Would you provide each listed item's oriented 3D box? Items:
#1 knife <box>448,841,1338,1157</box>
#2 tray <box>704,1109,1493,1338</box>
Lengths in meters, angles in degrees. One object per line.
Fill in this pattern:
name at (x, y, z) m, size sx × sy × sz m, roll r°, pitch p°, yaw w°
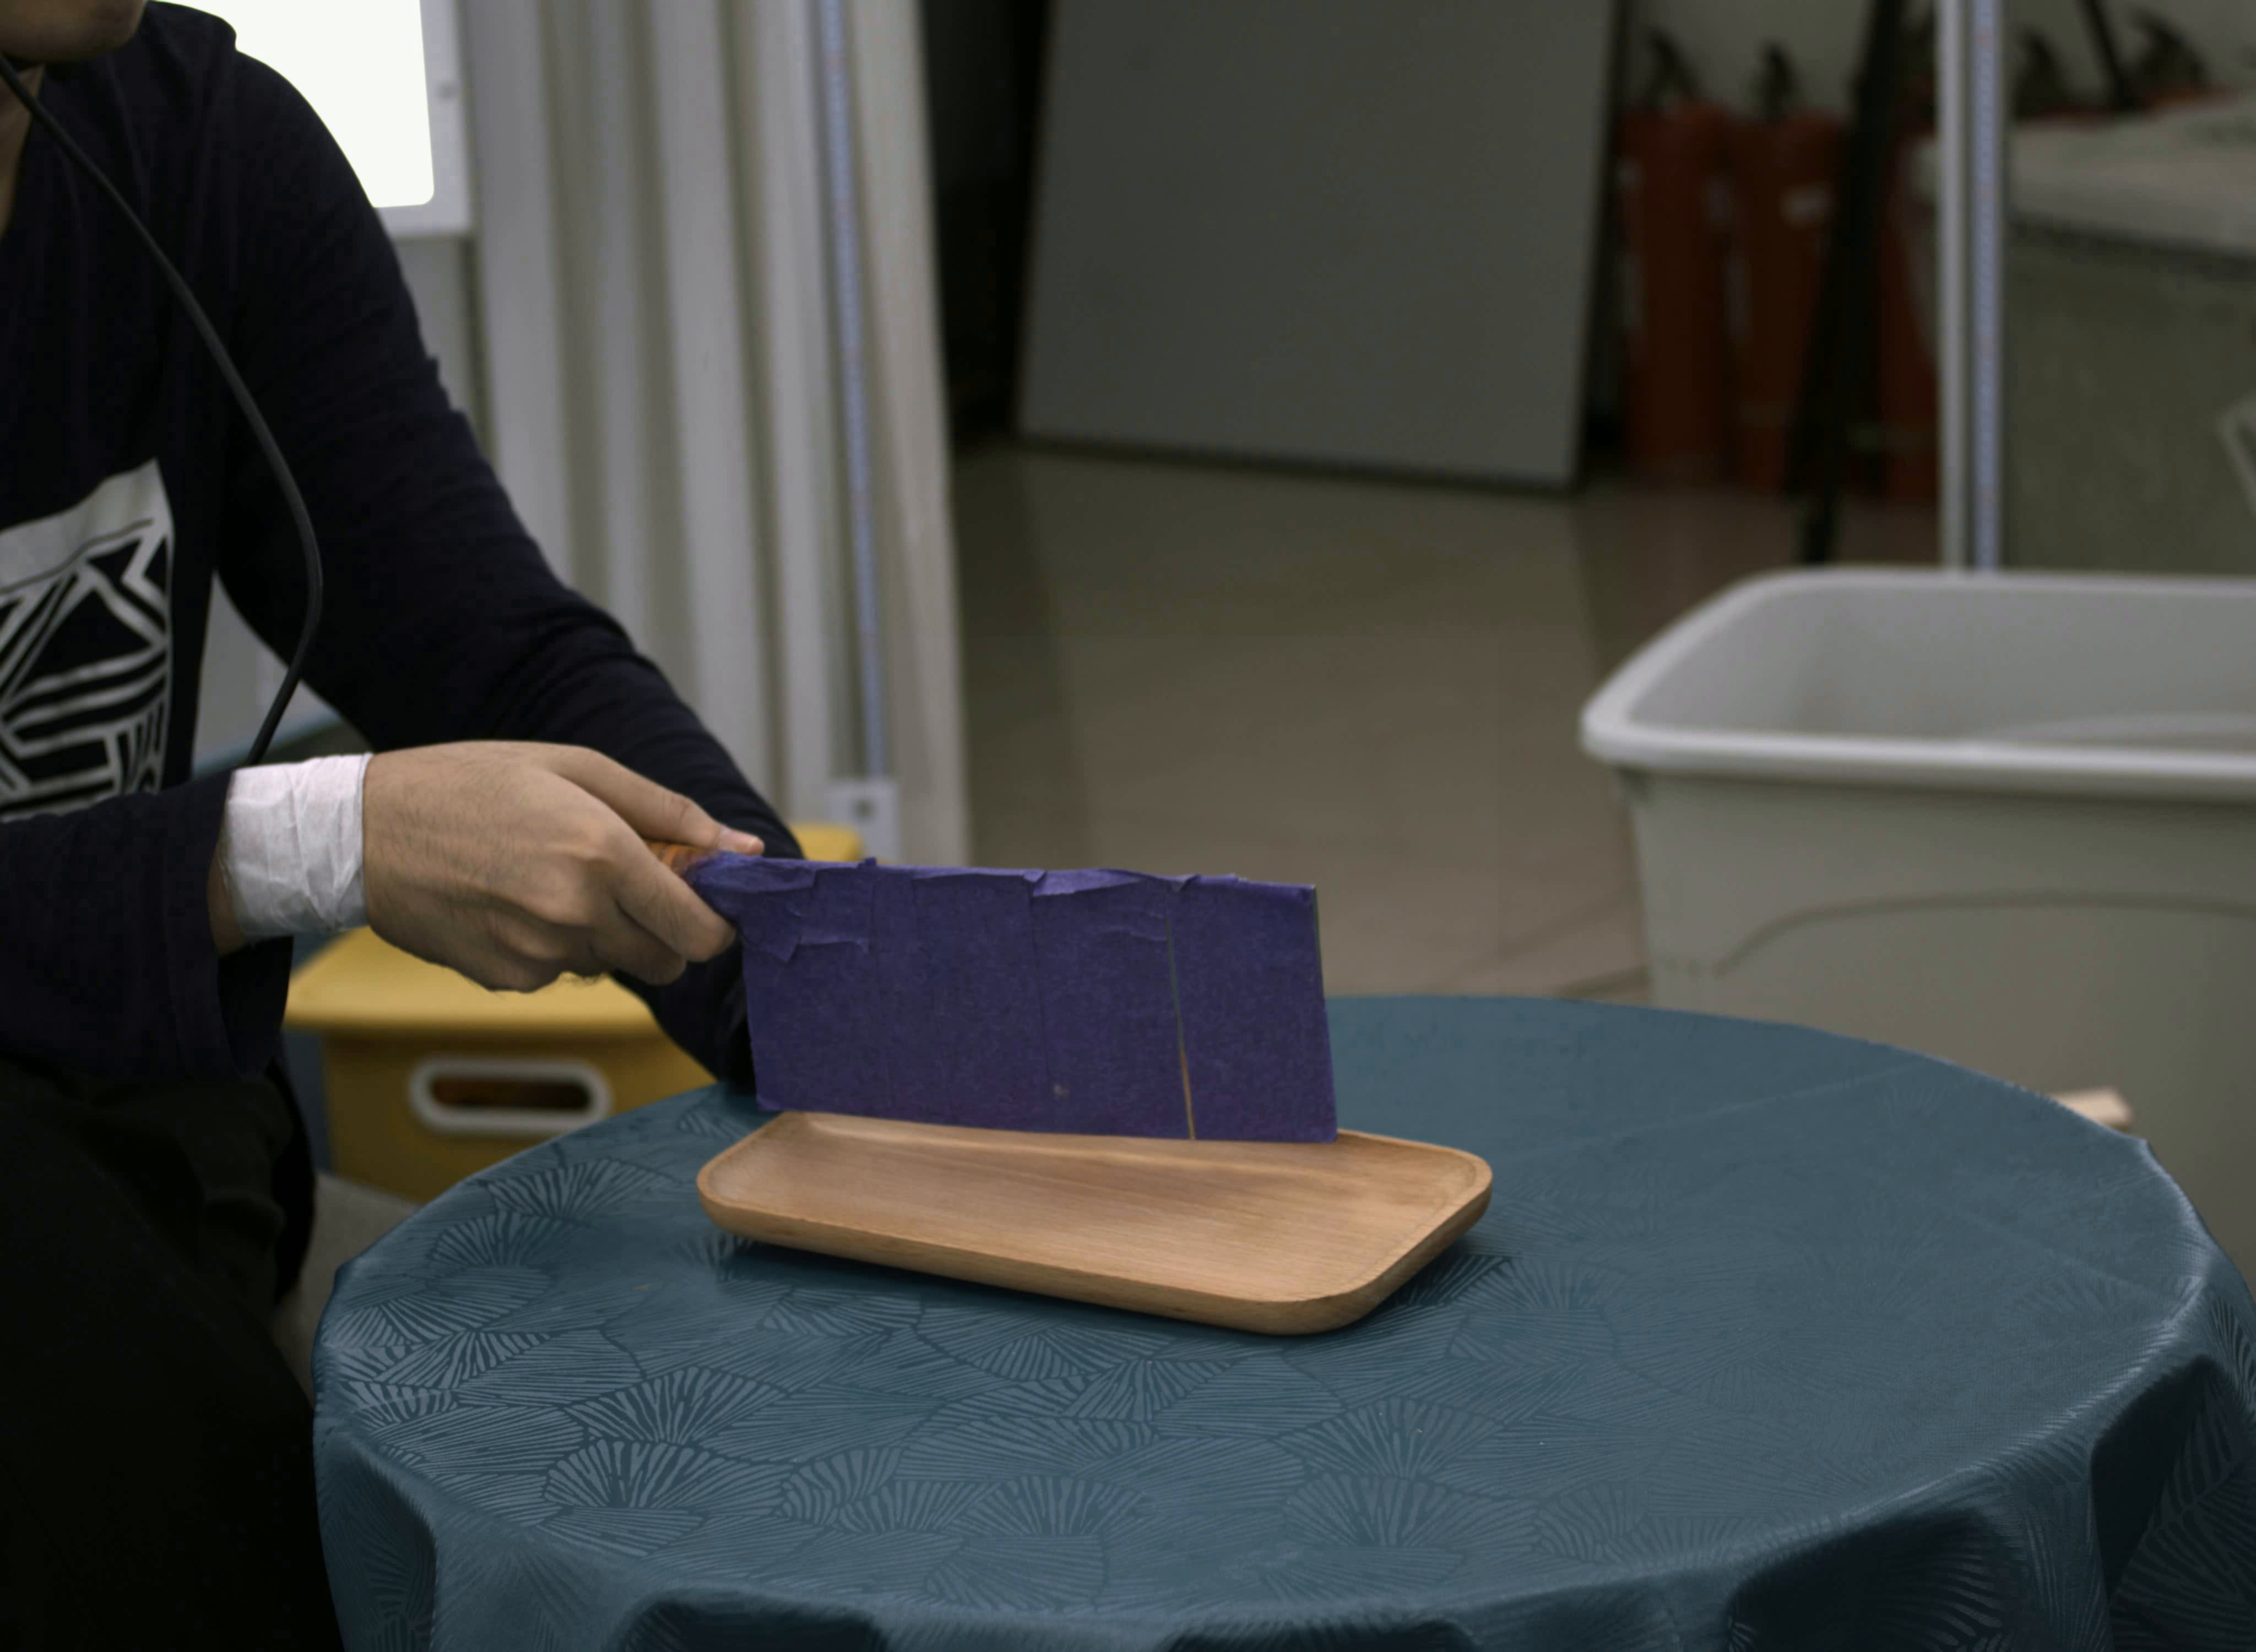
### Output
knife at (-0.080, 0.054, 1.761) m, size 0.316 × 0.105 × 0.032 m, roll 2°, pitch 16°, yaw 27°
tray at (-0.011, 0.118, 1.723) m, size 0.252 × 0.023 × 0.128 m, roll 7°, pitch 20°, yaw 35°
